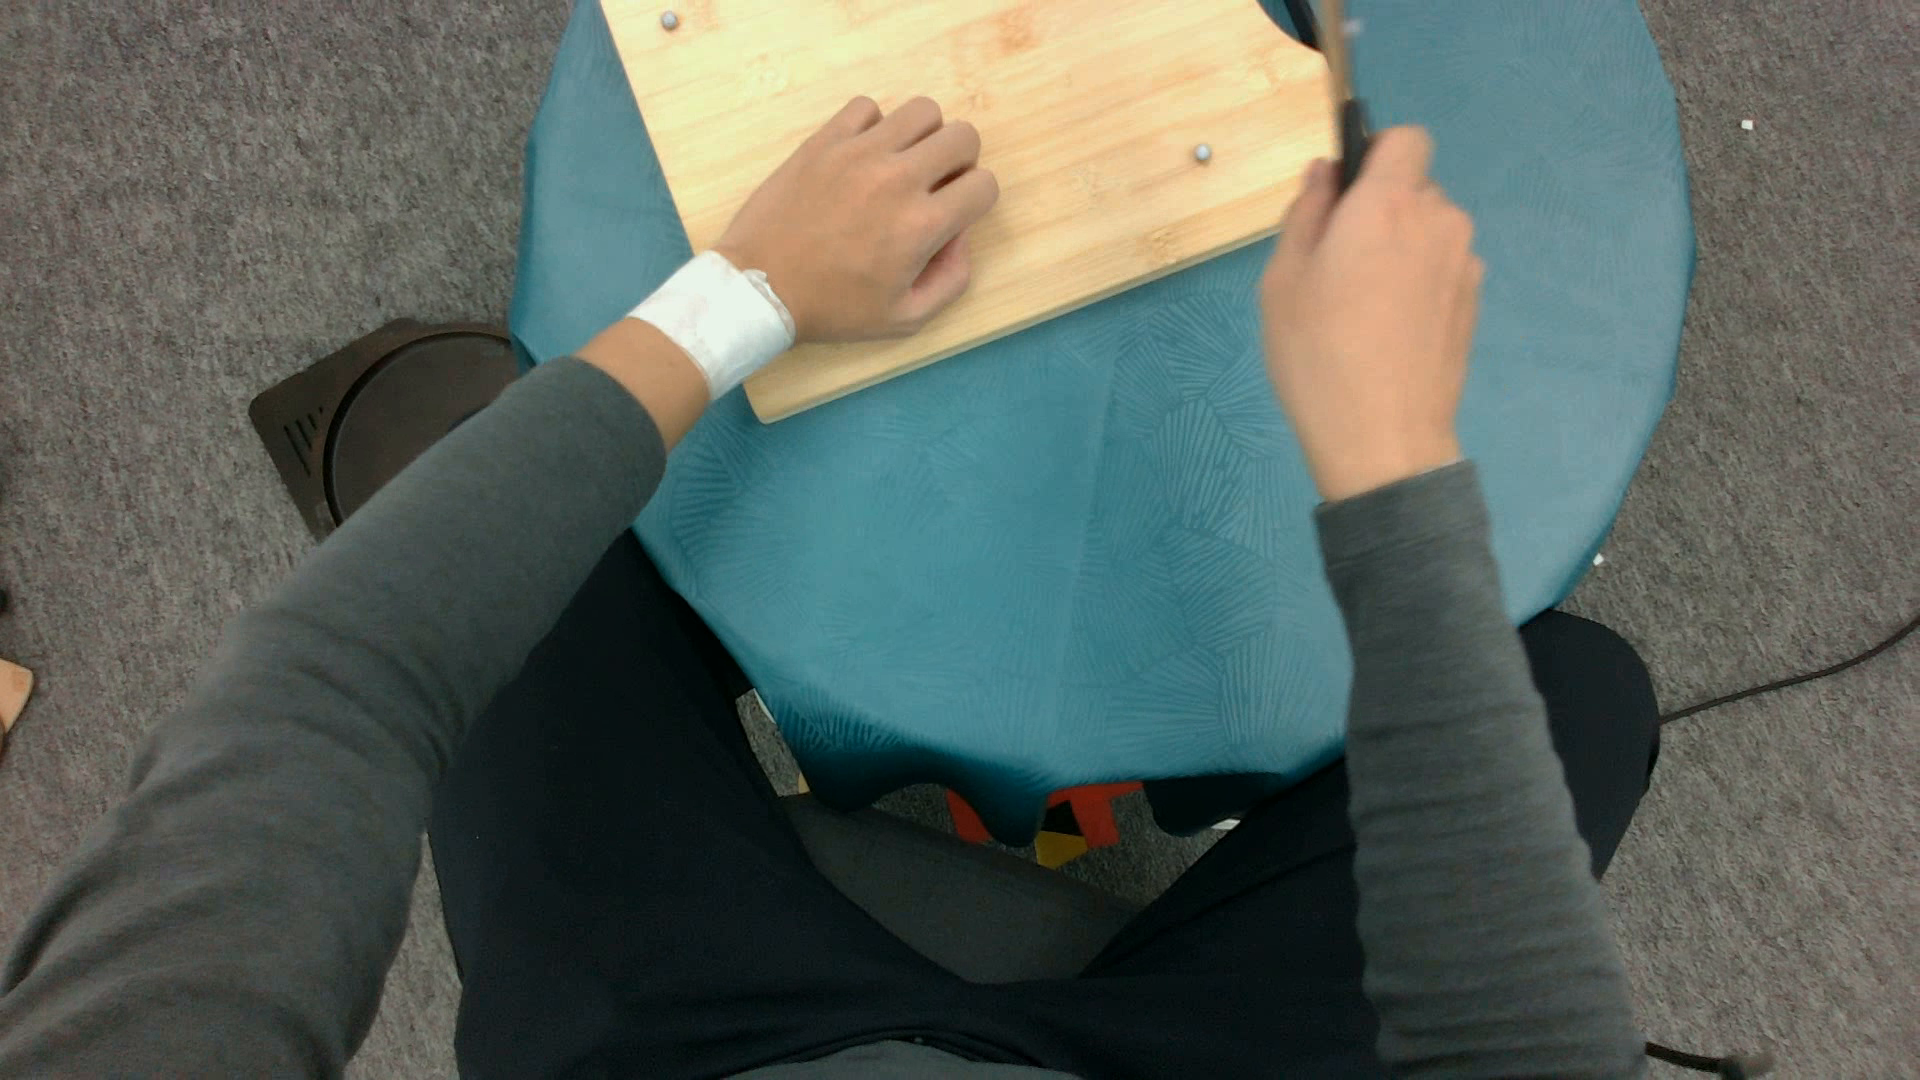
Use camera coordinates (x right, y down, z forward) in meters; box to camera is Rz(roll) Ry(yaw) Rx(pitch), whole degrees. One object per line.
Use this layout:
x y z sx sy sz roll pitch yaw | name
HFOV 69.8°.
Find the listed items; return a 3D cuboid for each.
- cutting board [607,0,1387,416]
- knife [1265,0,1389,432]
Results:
0.014 -0.233 0.714 0.349 0.023 0.251 -22 83 -4 | cutting board
0.131 -0.191 0.550 0.021 0.081 0.302 -13 95 11 | knife
